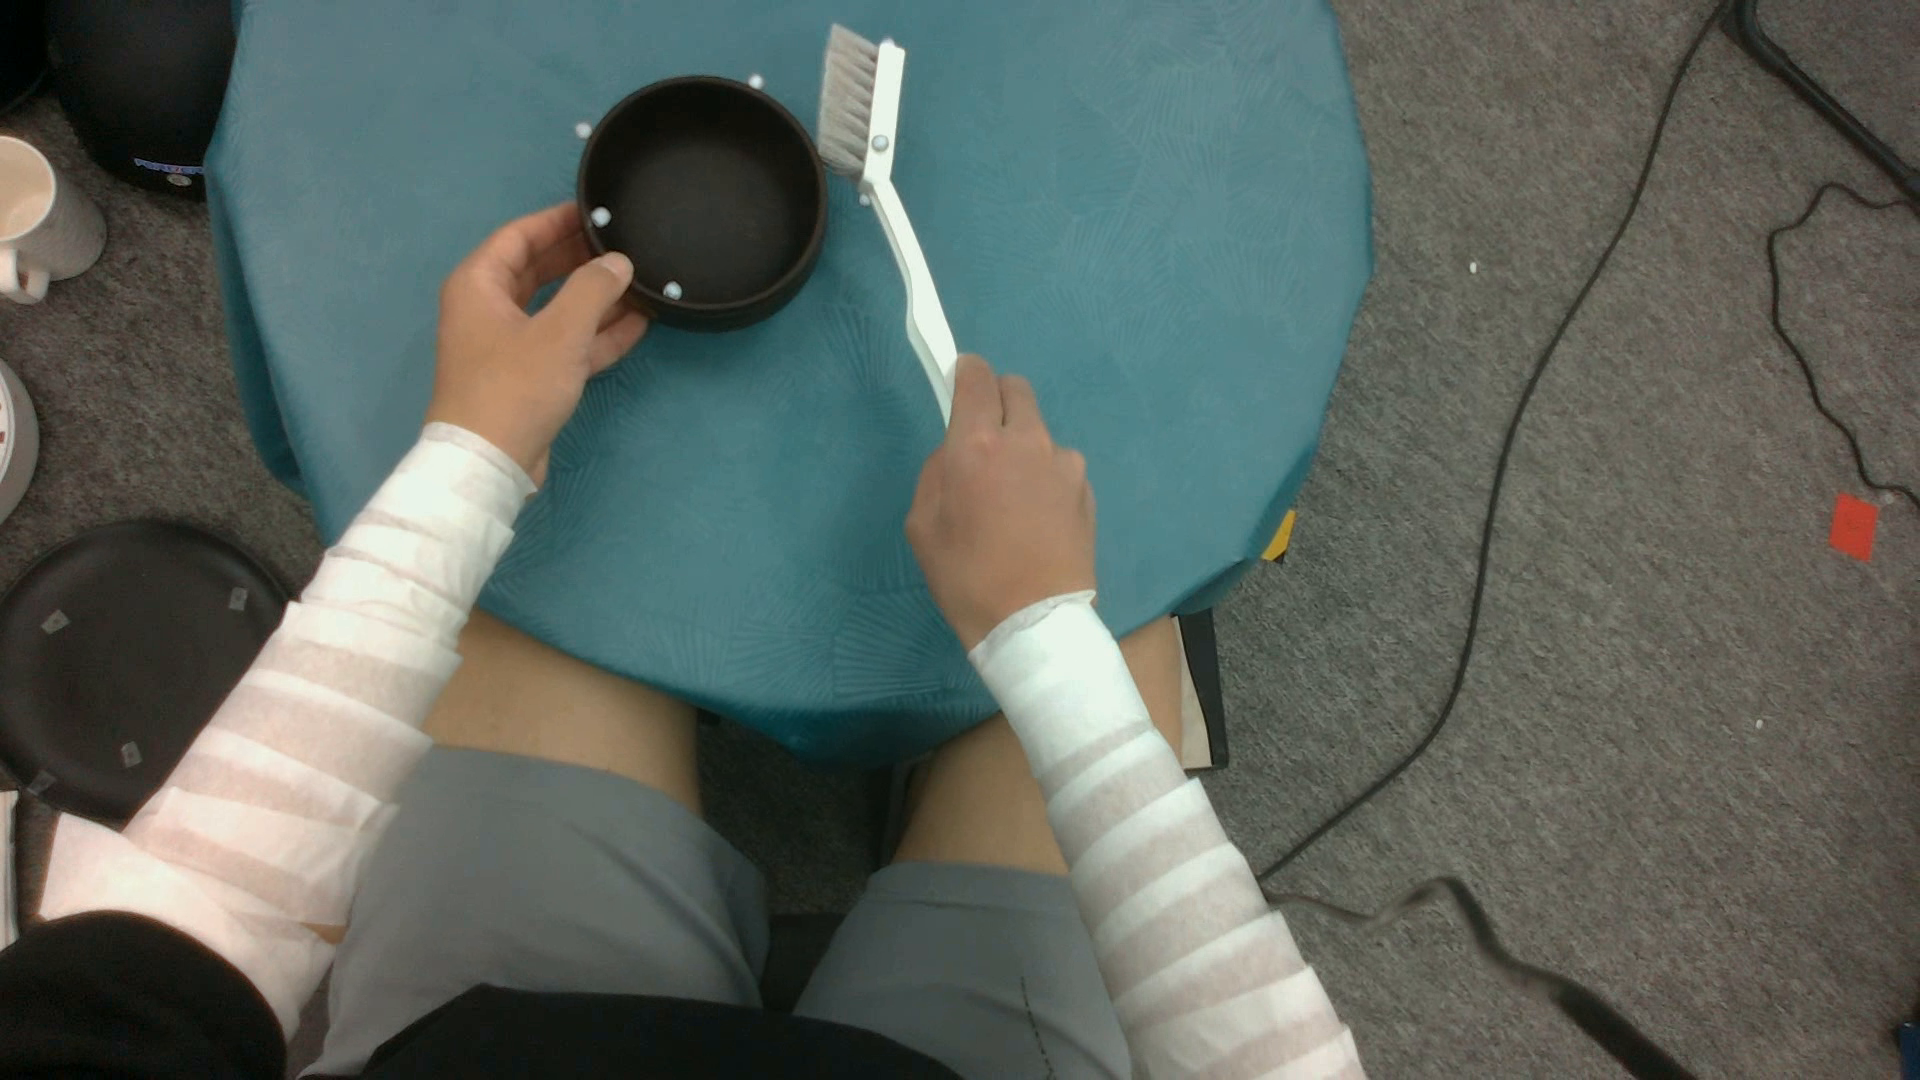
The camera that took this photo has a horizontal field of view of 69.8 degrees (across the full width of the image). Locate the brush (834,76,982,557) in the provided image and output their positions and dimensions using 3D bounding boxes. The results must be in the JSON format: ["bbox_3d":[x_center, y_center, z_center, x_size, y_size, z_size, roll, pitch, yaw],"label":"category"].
[{"bbox_3d":[-0.028,-0.109,0.679,0.050,0.034,0.244,-8,85,-10],"label":"brush"}]

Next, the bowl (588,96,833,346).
[{"bbox_3d":[-0.124,-0.153,0.689,0.118,0.069,0.118,1,83,-12],"label":"bowl"}]
